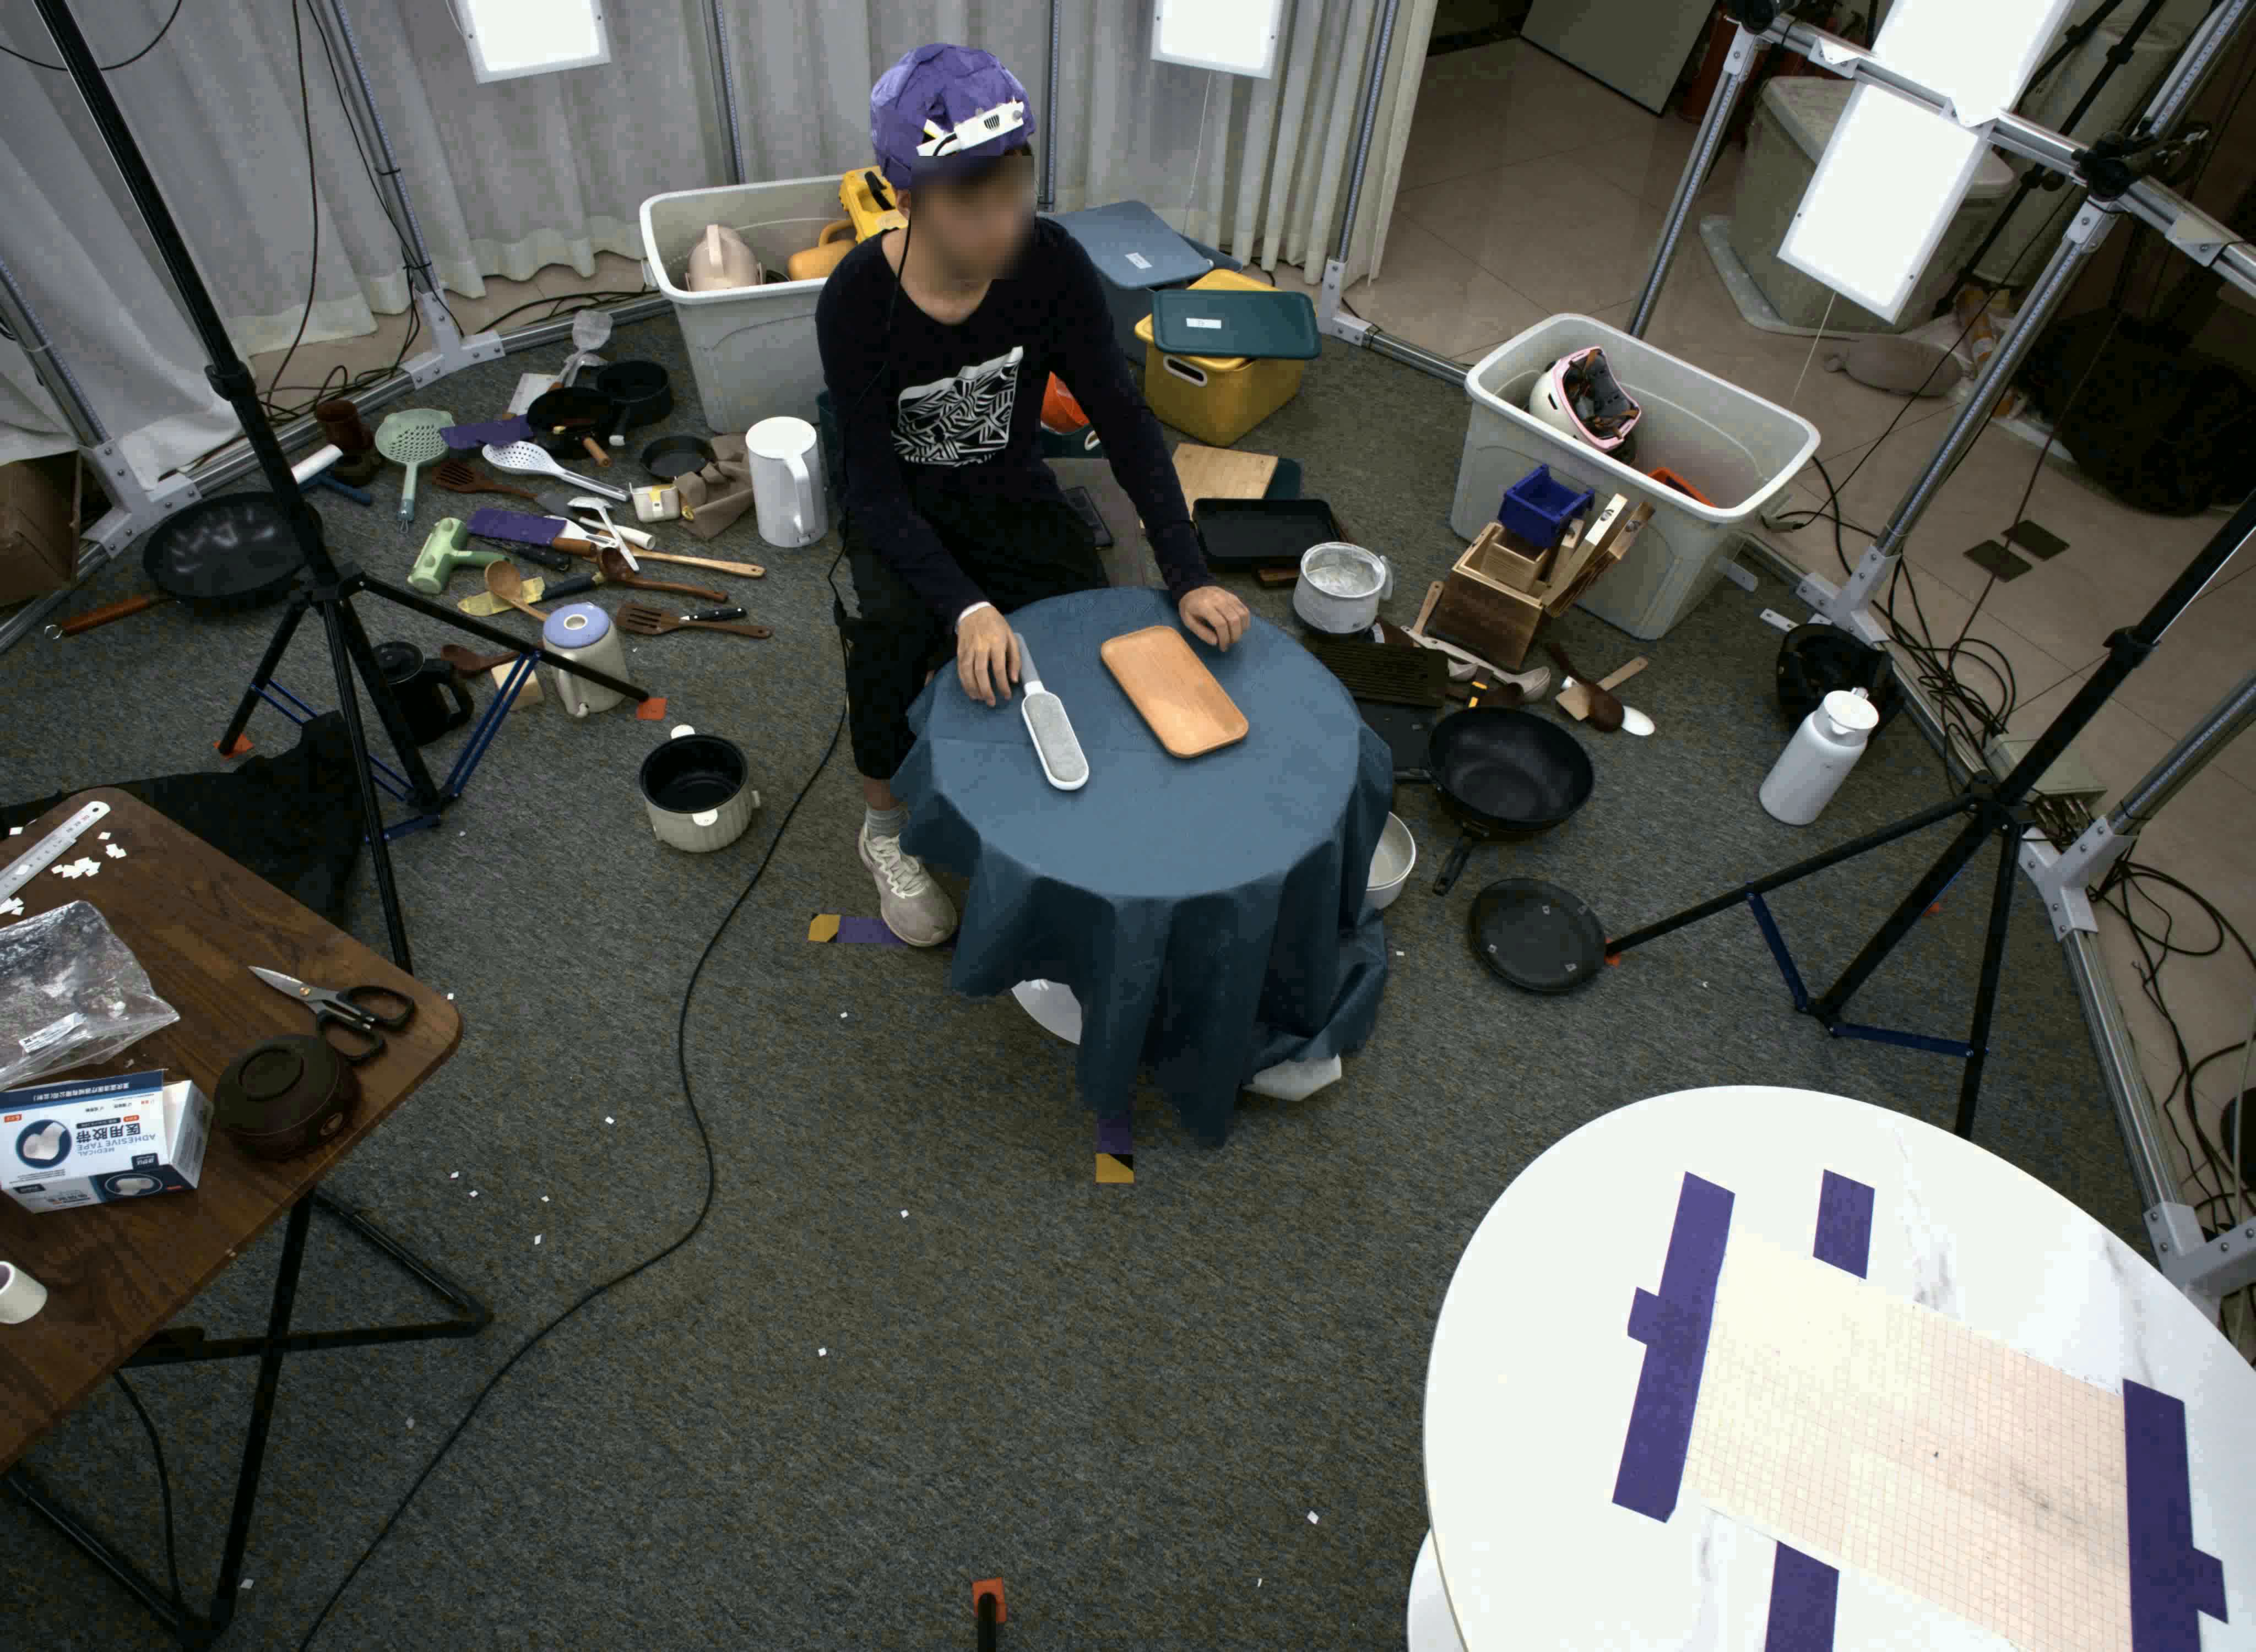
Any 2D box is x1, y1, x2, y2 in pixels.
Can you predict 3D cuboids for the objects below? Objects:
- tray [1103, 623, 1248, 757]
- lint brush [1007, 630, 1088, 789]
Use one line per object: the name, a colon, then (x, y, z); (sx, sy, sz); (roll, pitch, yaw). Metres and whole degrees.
tray: (0.065, -0.197, 1.831); (0.131, 0.022, 0.256); (-16, 52, -19)
lint brush: (-0.119, -0.168, 1.787); (0.060, 0.020, 0.316); (-15, 51, -10)
